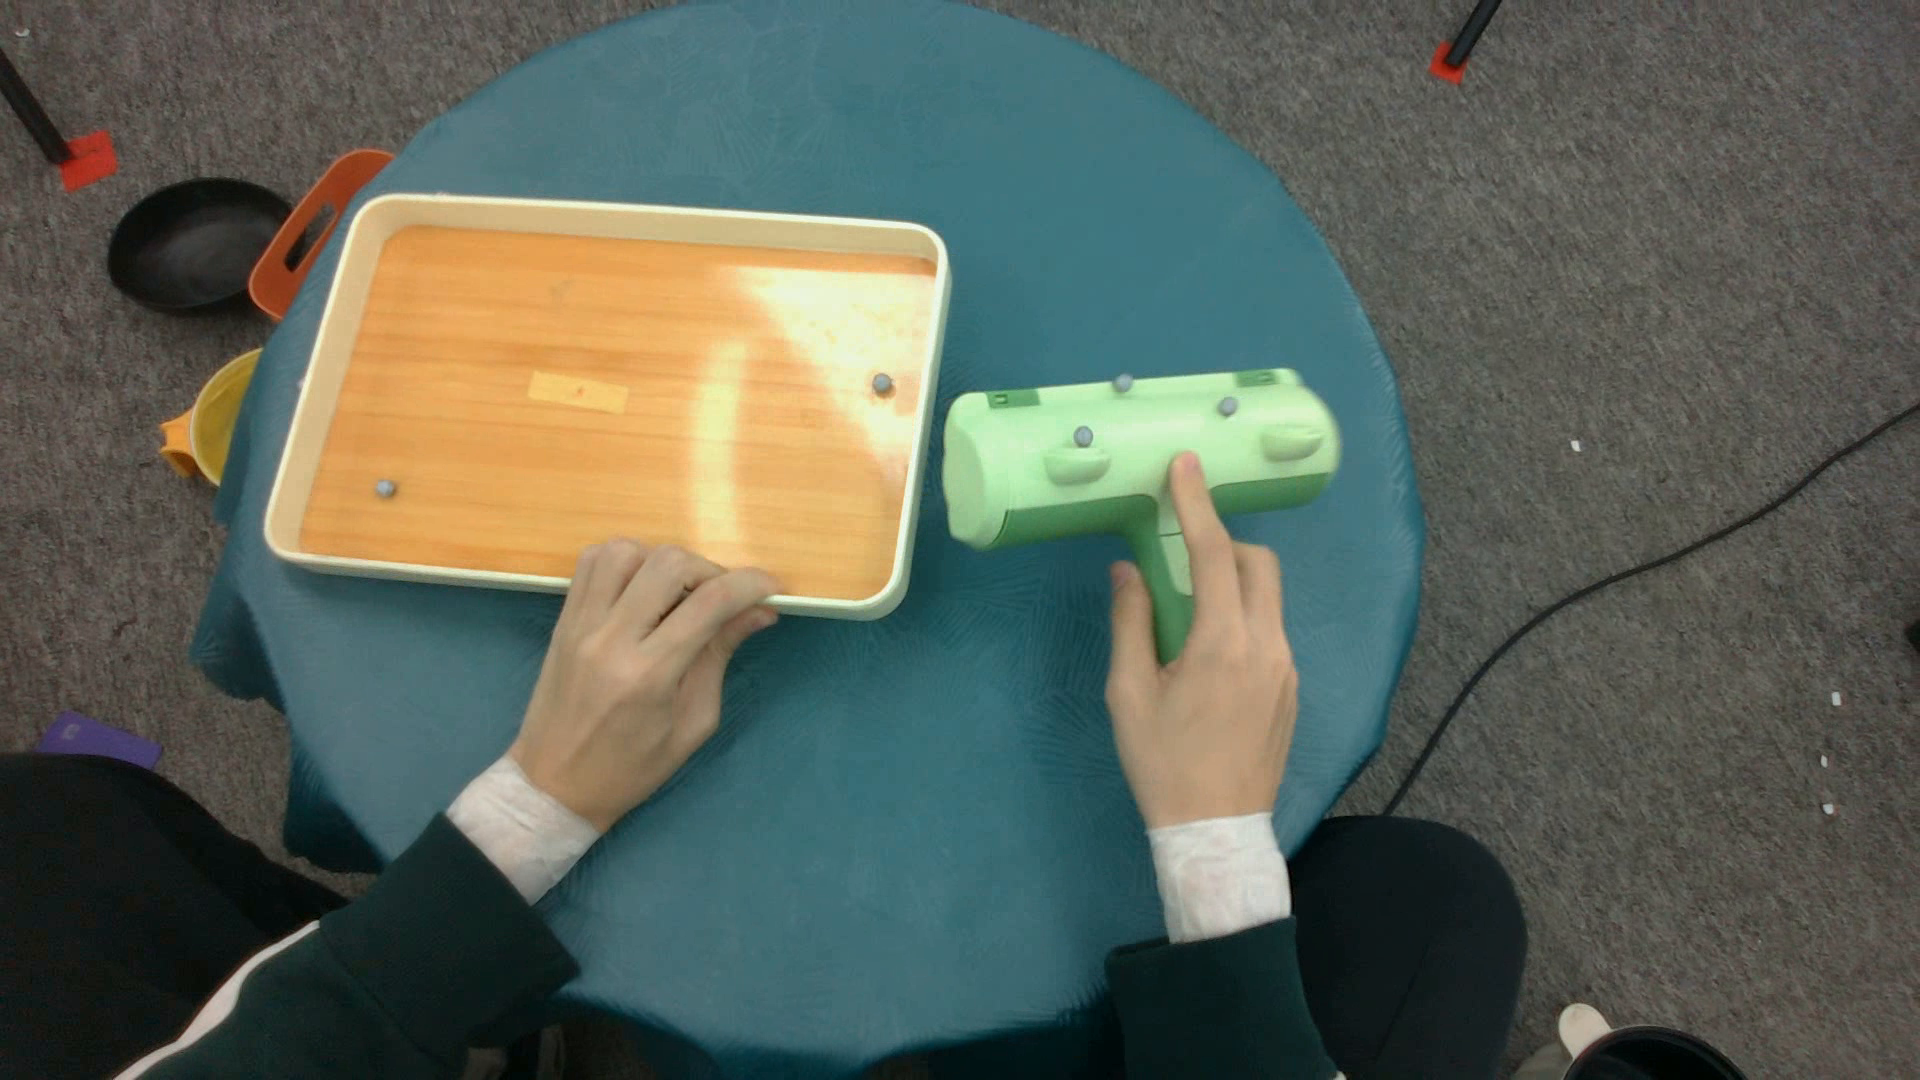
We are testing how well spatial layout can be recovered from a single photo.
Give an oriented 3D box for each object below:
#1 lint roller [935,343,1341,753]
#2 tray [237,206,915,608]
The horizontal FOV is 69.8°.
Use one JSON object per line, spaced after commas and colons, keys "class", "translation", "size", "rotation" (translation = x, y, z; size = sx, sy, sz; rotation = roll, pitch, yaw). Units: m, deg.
{"class": "lint roller", "translation": [0.100, 0.000, 0.621], "size": [0.199, 0.082, 0.183], "rotation": [-8, 71, -20]}
{"class": "tray", "translation": [-0.177, -0.067, 0.654], "size": [0.300, 0.027, 0.192], "rotation": [3, 71, 6]}
